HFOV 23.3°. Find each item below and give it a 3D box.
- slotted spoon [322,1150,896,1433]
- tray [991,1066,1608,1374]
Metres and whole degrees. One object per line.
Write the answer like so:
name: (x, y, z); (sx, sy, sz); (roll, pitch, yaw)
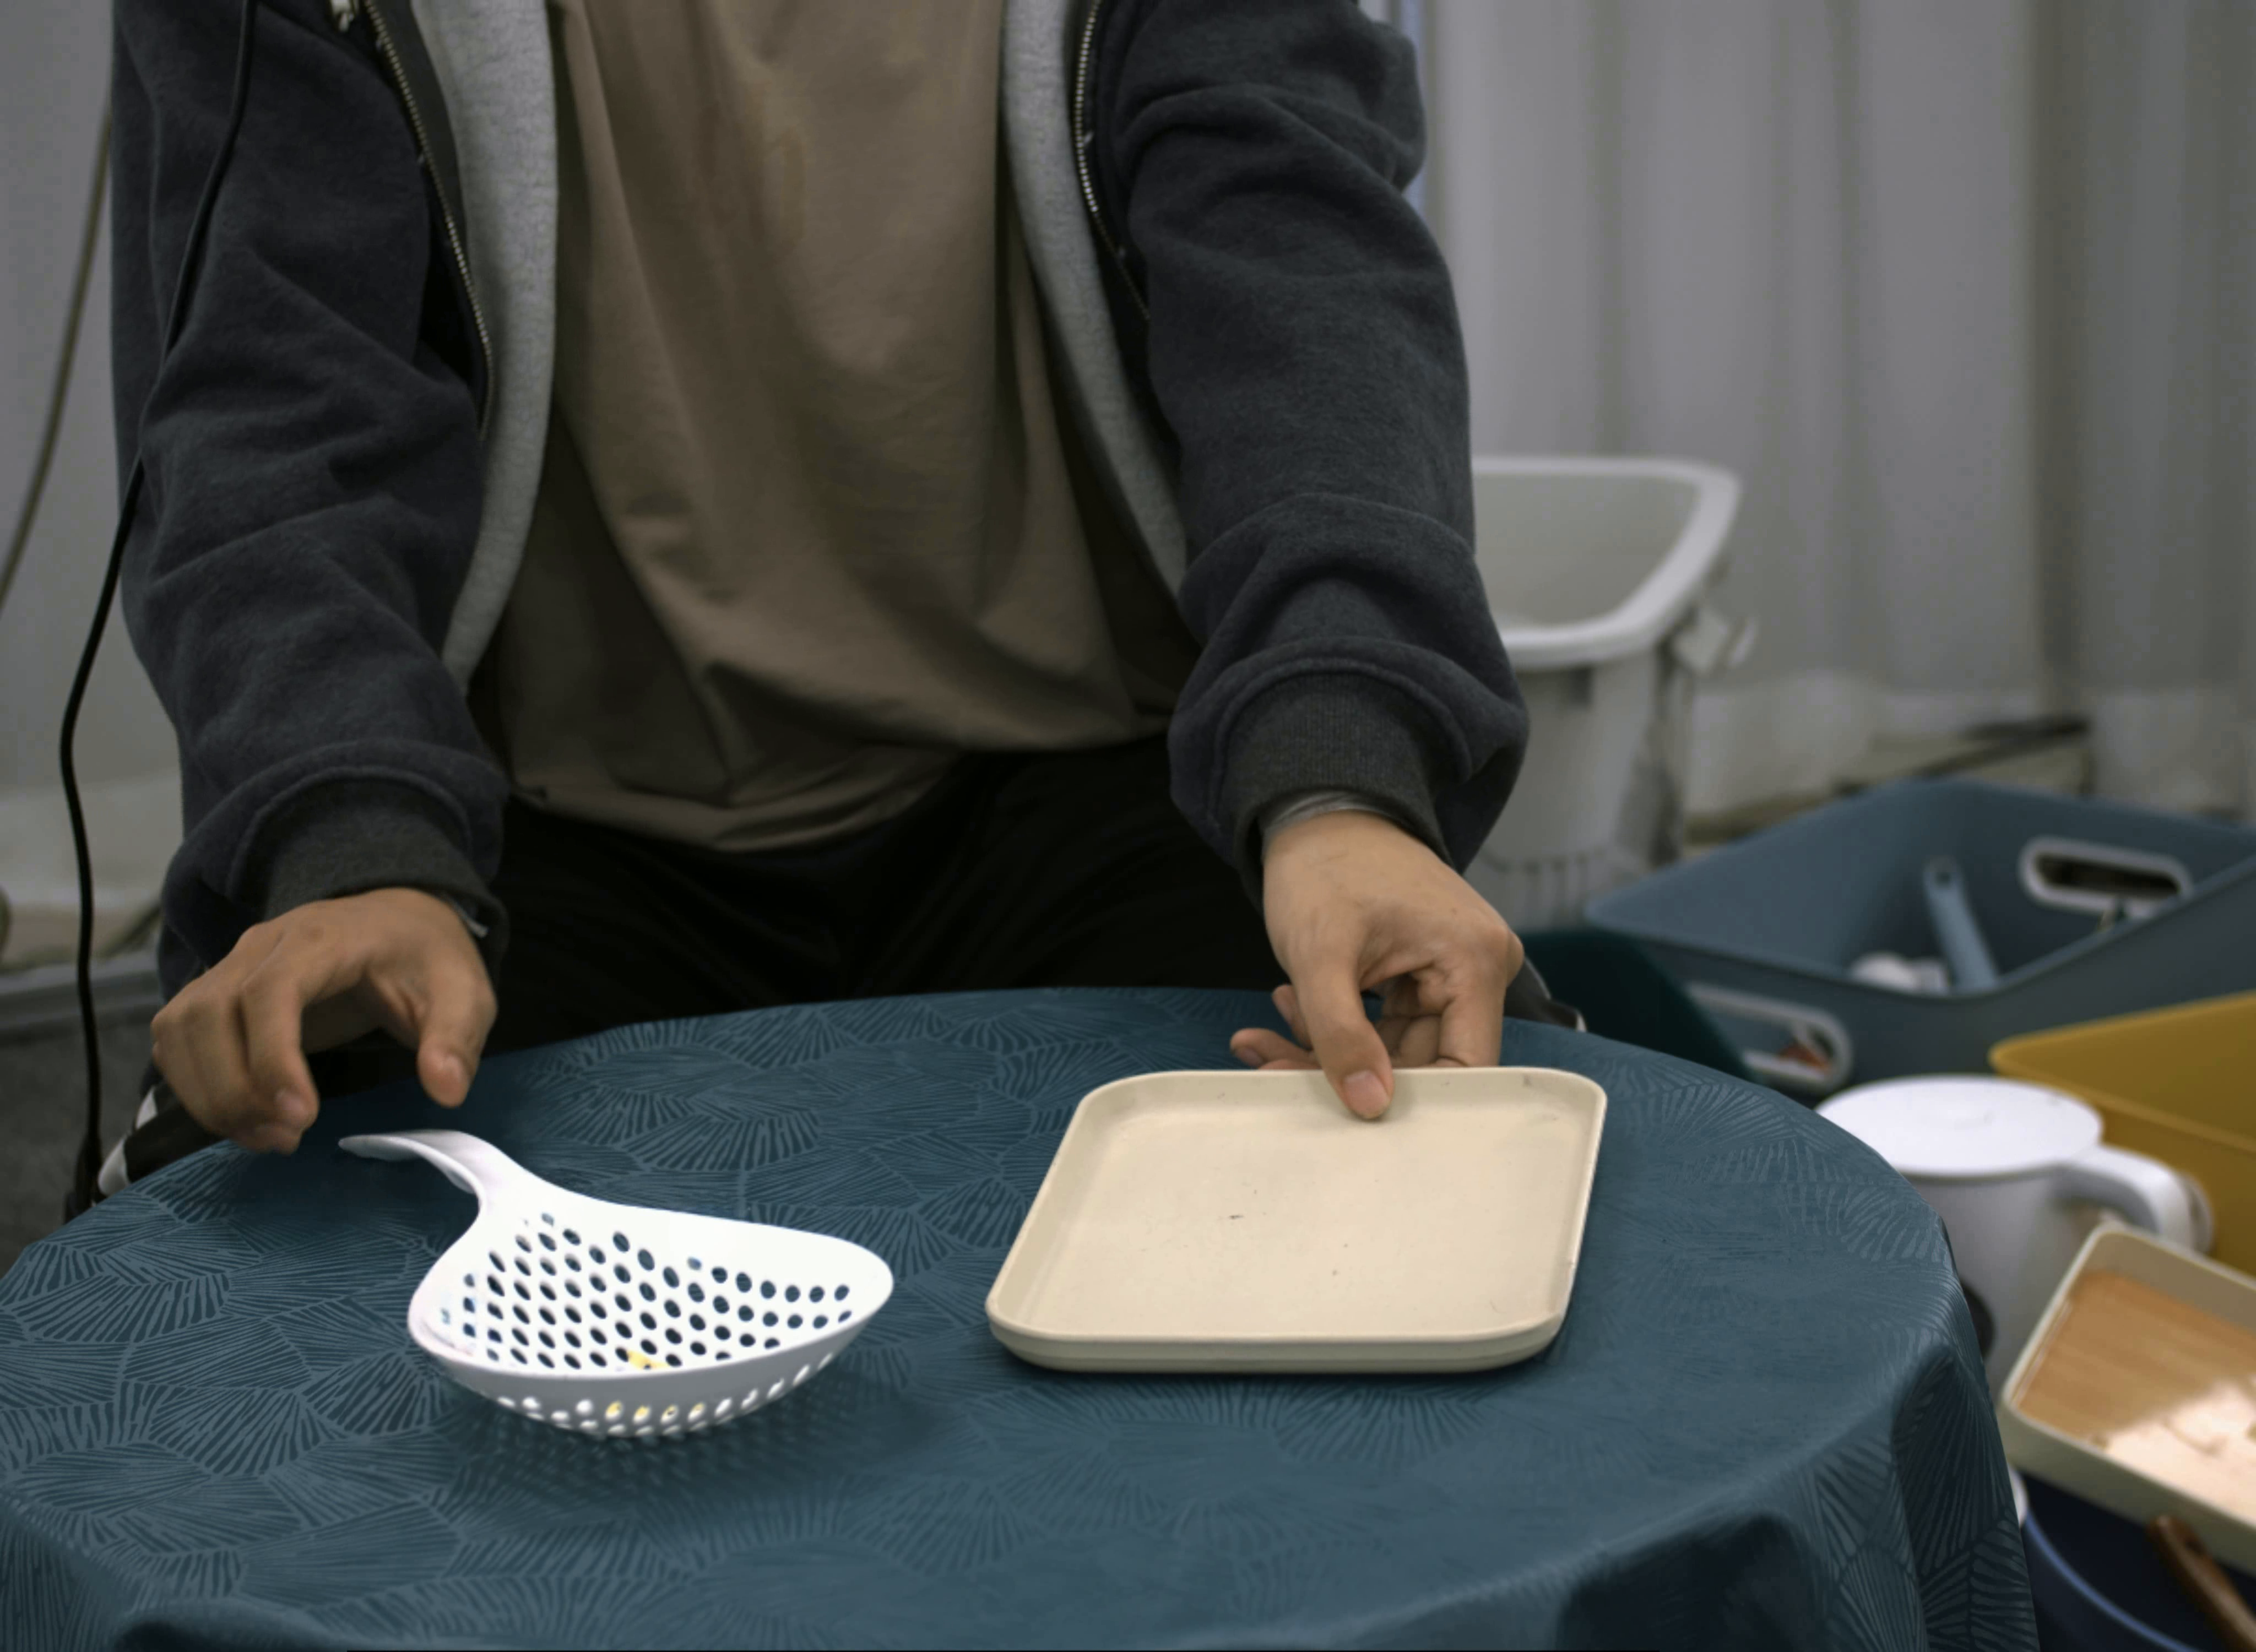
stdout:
slotted spoon: (-0.179, 0.125, 1.635); (0.136, 0.050, 0.350); (-13, 17, -23)
tray: (0.056, 0.118, 1.654); (0.171, 0.017, 0.241); (-2, 15, 9)
